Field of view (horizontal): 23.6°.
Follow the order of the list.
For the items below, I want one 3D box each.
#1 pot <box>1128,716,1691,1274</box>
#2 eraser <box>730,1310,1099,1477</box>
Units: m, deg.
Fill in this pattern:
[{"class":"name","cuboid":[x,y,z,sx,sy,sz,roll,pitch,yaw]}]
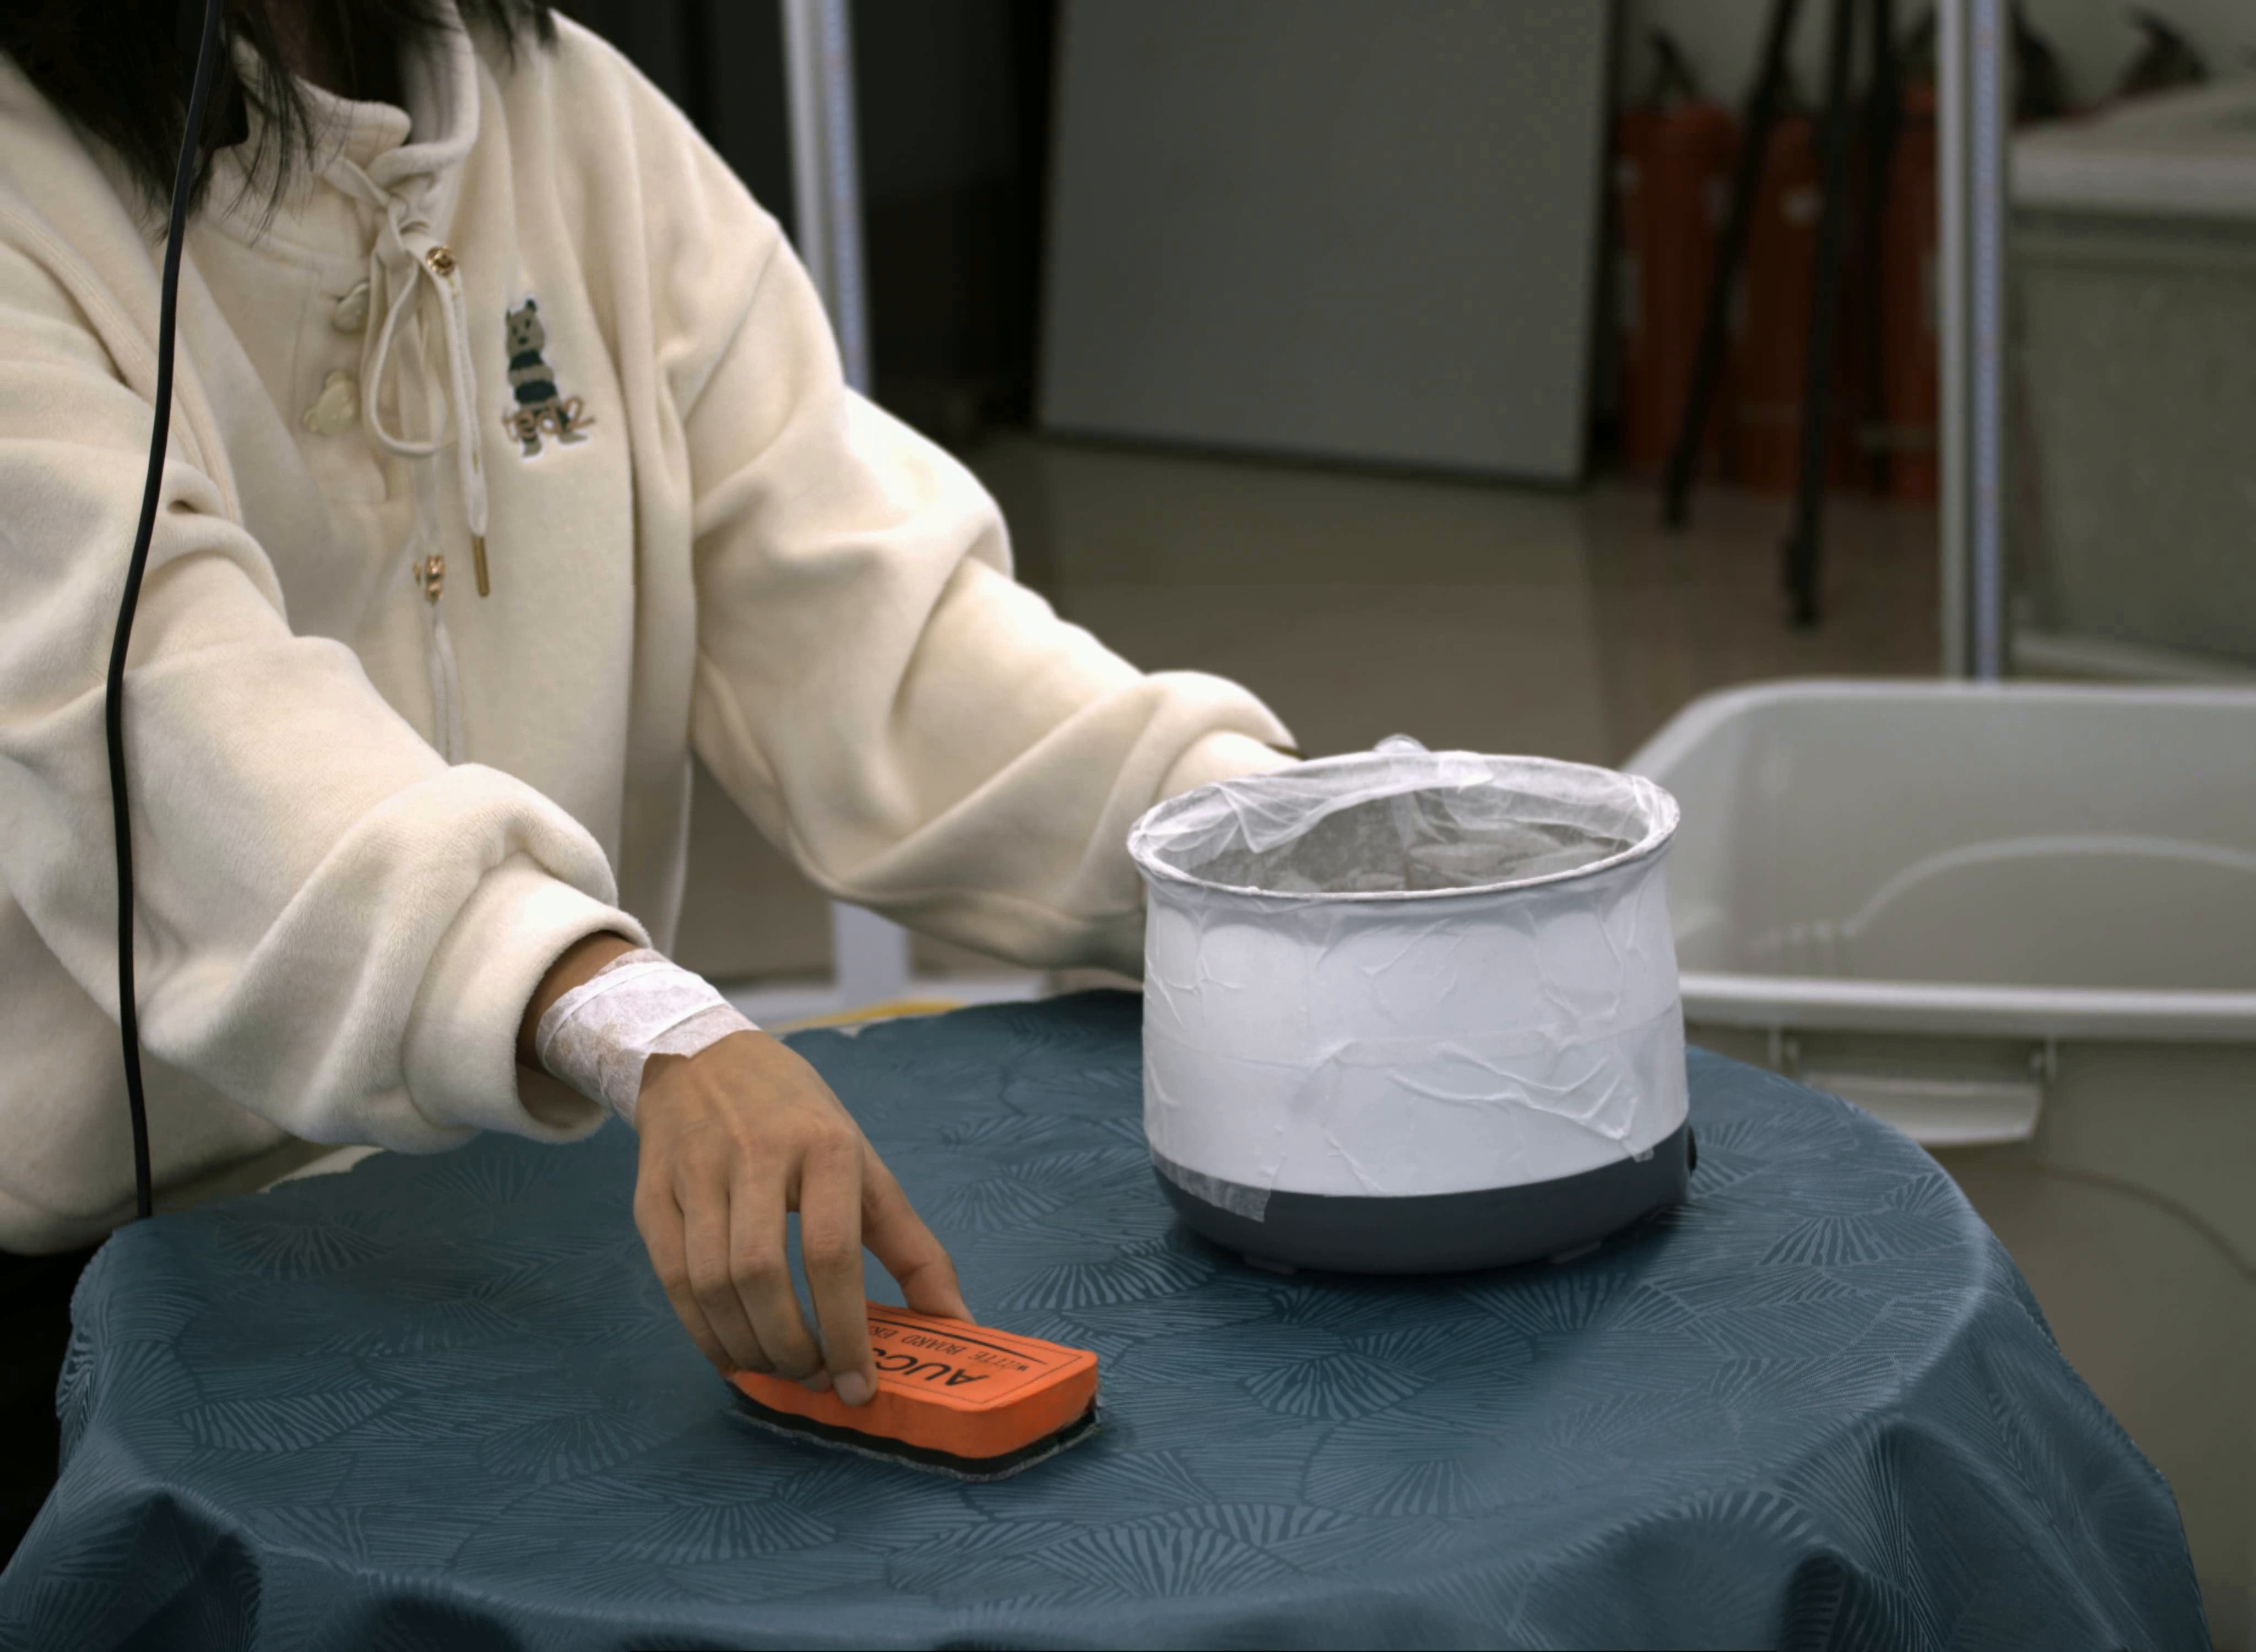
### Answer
[{"class":"pot","cuboid":[0.091,0.049,1.734,0.176,0.138,0.234,-2,15,2]},{"class":"eraser","cuboid":[-0.062,0.164,1.566,0.109,0.023,0.058,8,12,42]}]
